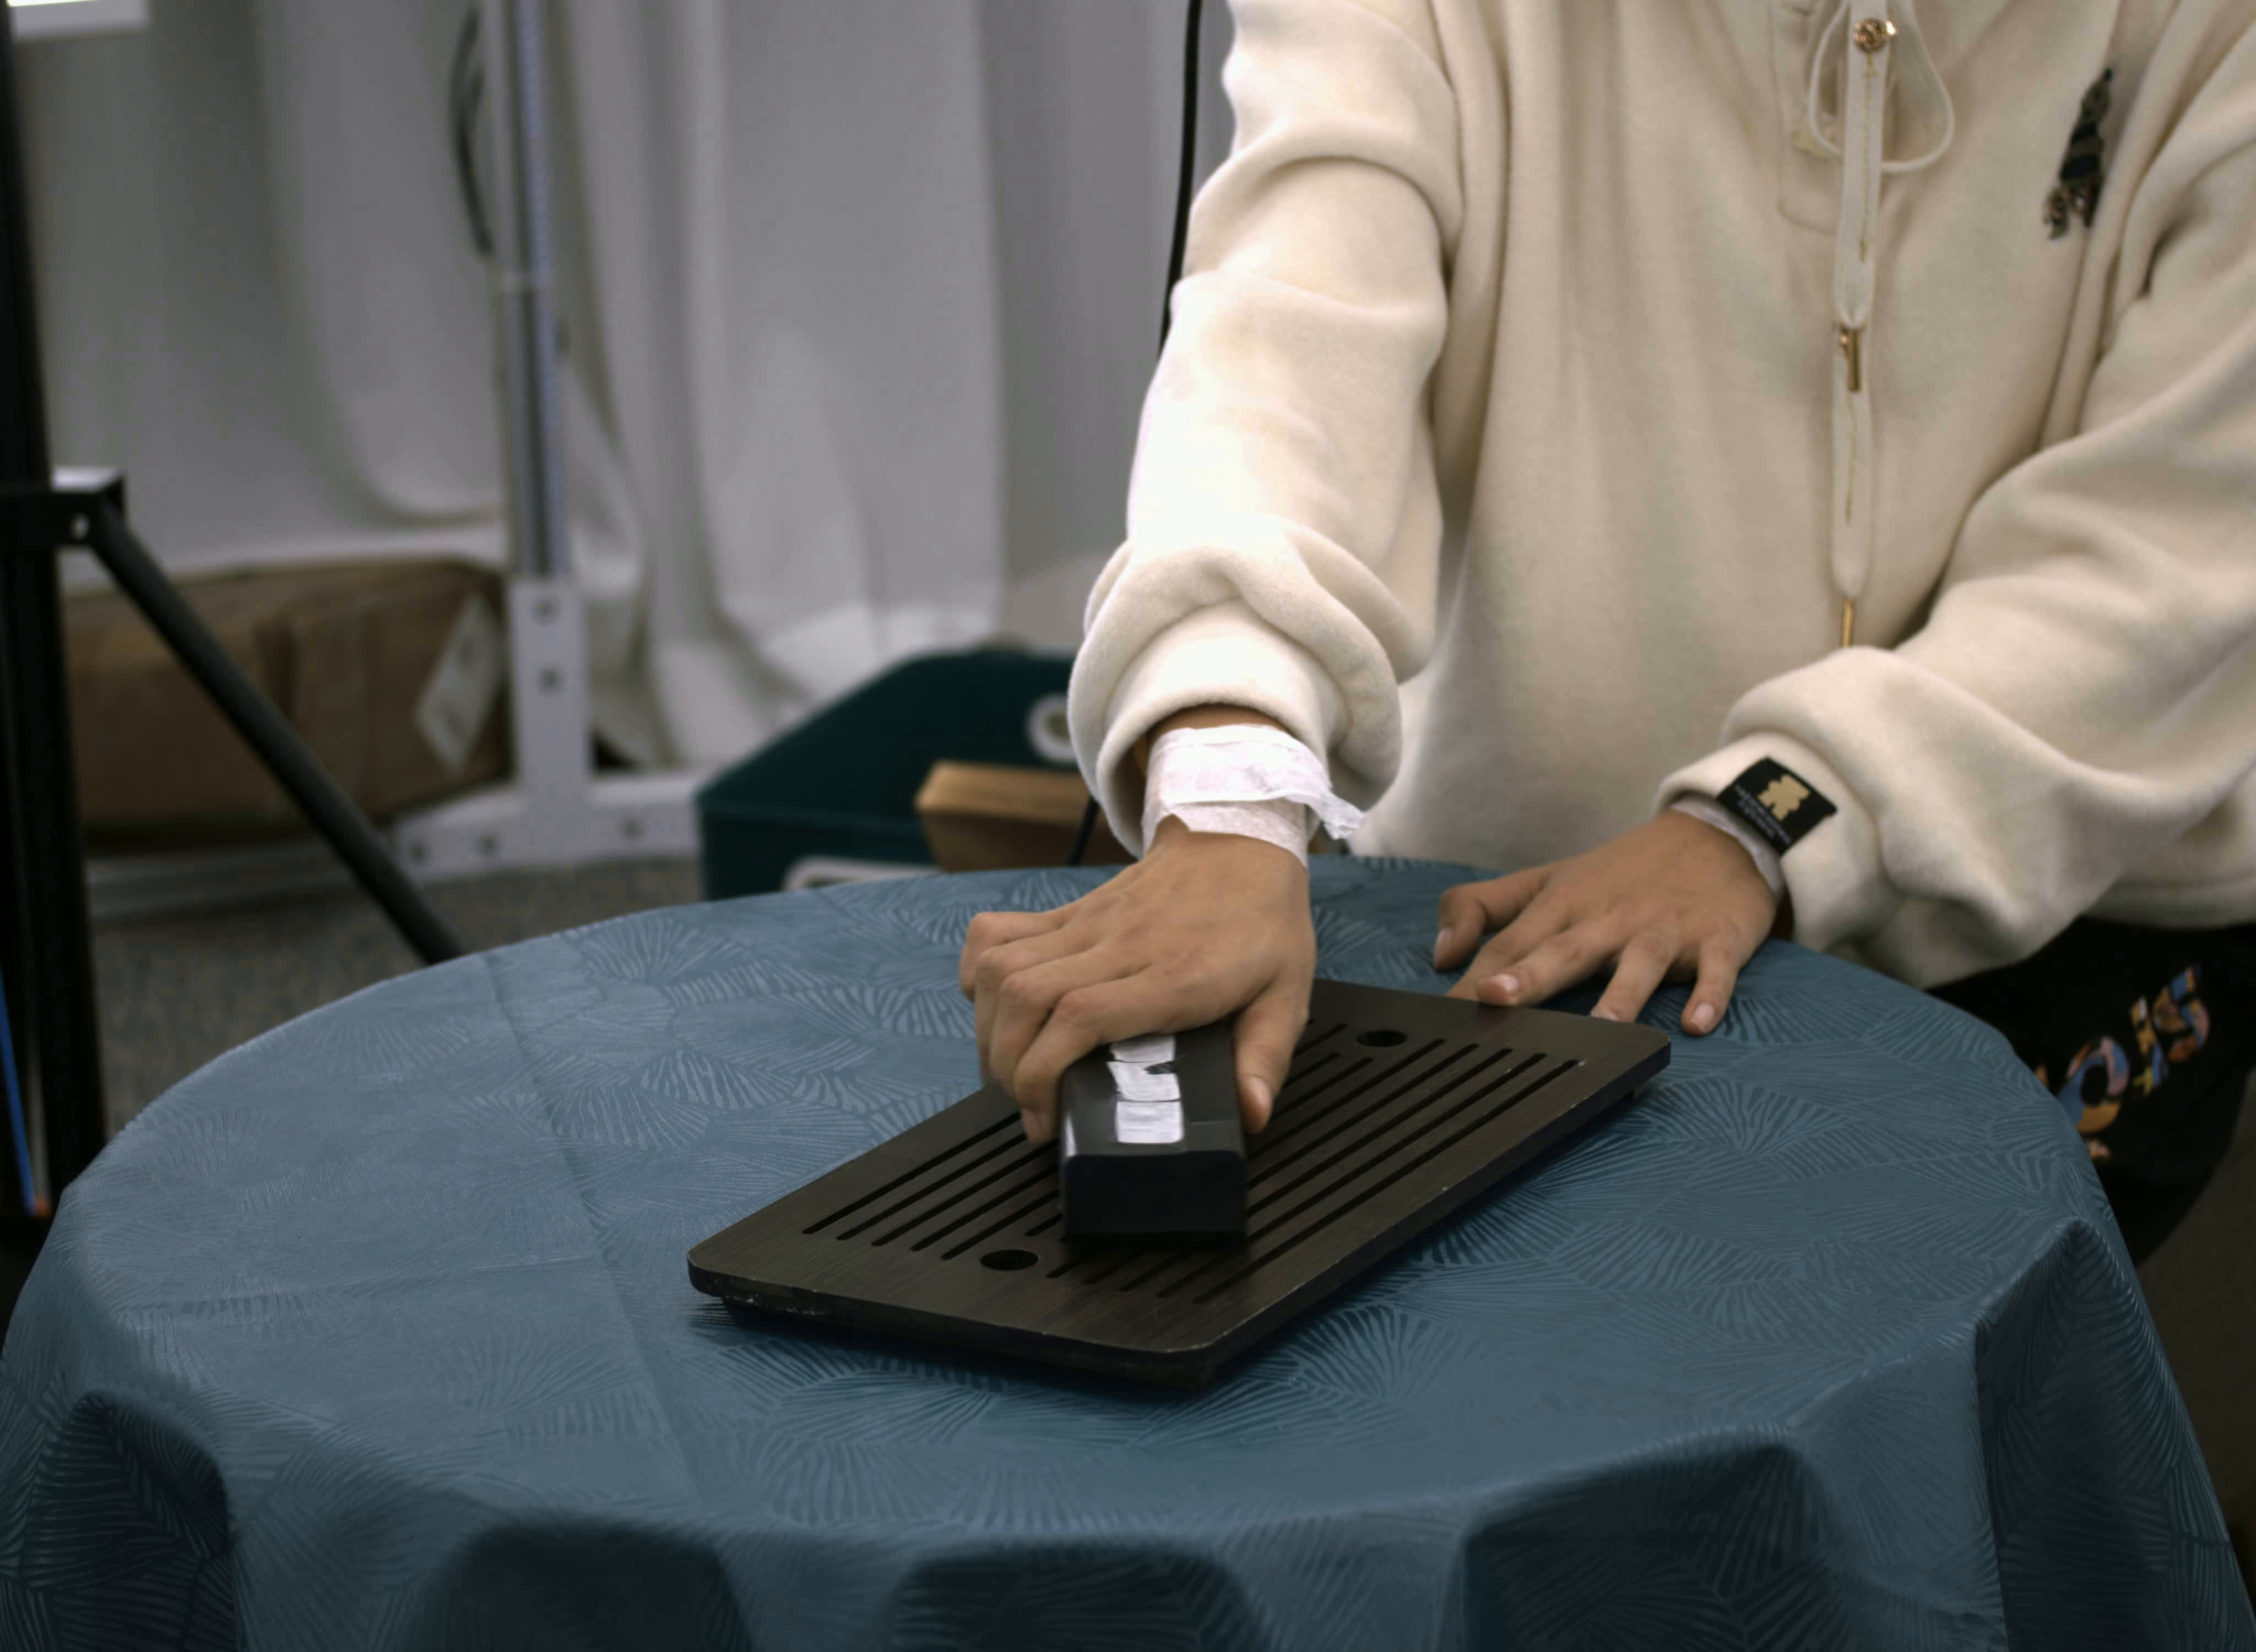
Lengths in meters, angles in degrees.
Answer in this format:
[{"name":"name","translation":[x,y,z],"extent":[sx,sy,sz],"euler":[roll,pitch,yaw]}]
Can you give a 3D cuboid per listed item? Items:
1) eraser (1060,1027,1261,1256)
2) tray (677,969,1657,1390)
[{"name":"eraser","translation":[0.009,0.089,1.514],"extent":[0.053,0.030,0.126],"euler":[1,14,-2]},{"name":"tray","translation":[0.018,0.100,1.551],"extent":[0.173,0.018,0.300],"euler":[7,19,31]}]
